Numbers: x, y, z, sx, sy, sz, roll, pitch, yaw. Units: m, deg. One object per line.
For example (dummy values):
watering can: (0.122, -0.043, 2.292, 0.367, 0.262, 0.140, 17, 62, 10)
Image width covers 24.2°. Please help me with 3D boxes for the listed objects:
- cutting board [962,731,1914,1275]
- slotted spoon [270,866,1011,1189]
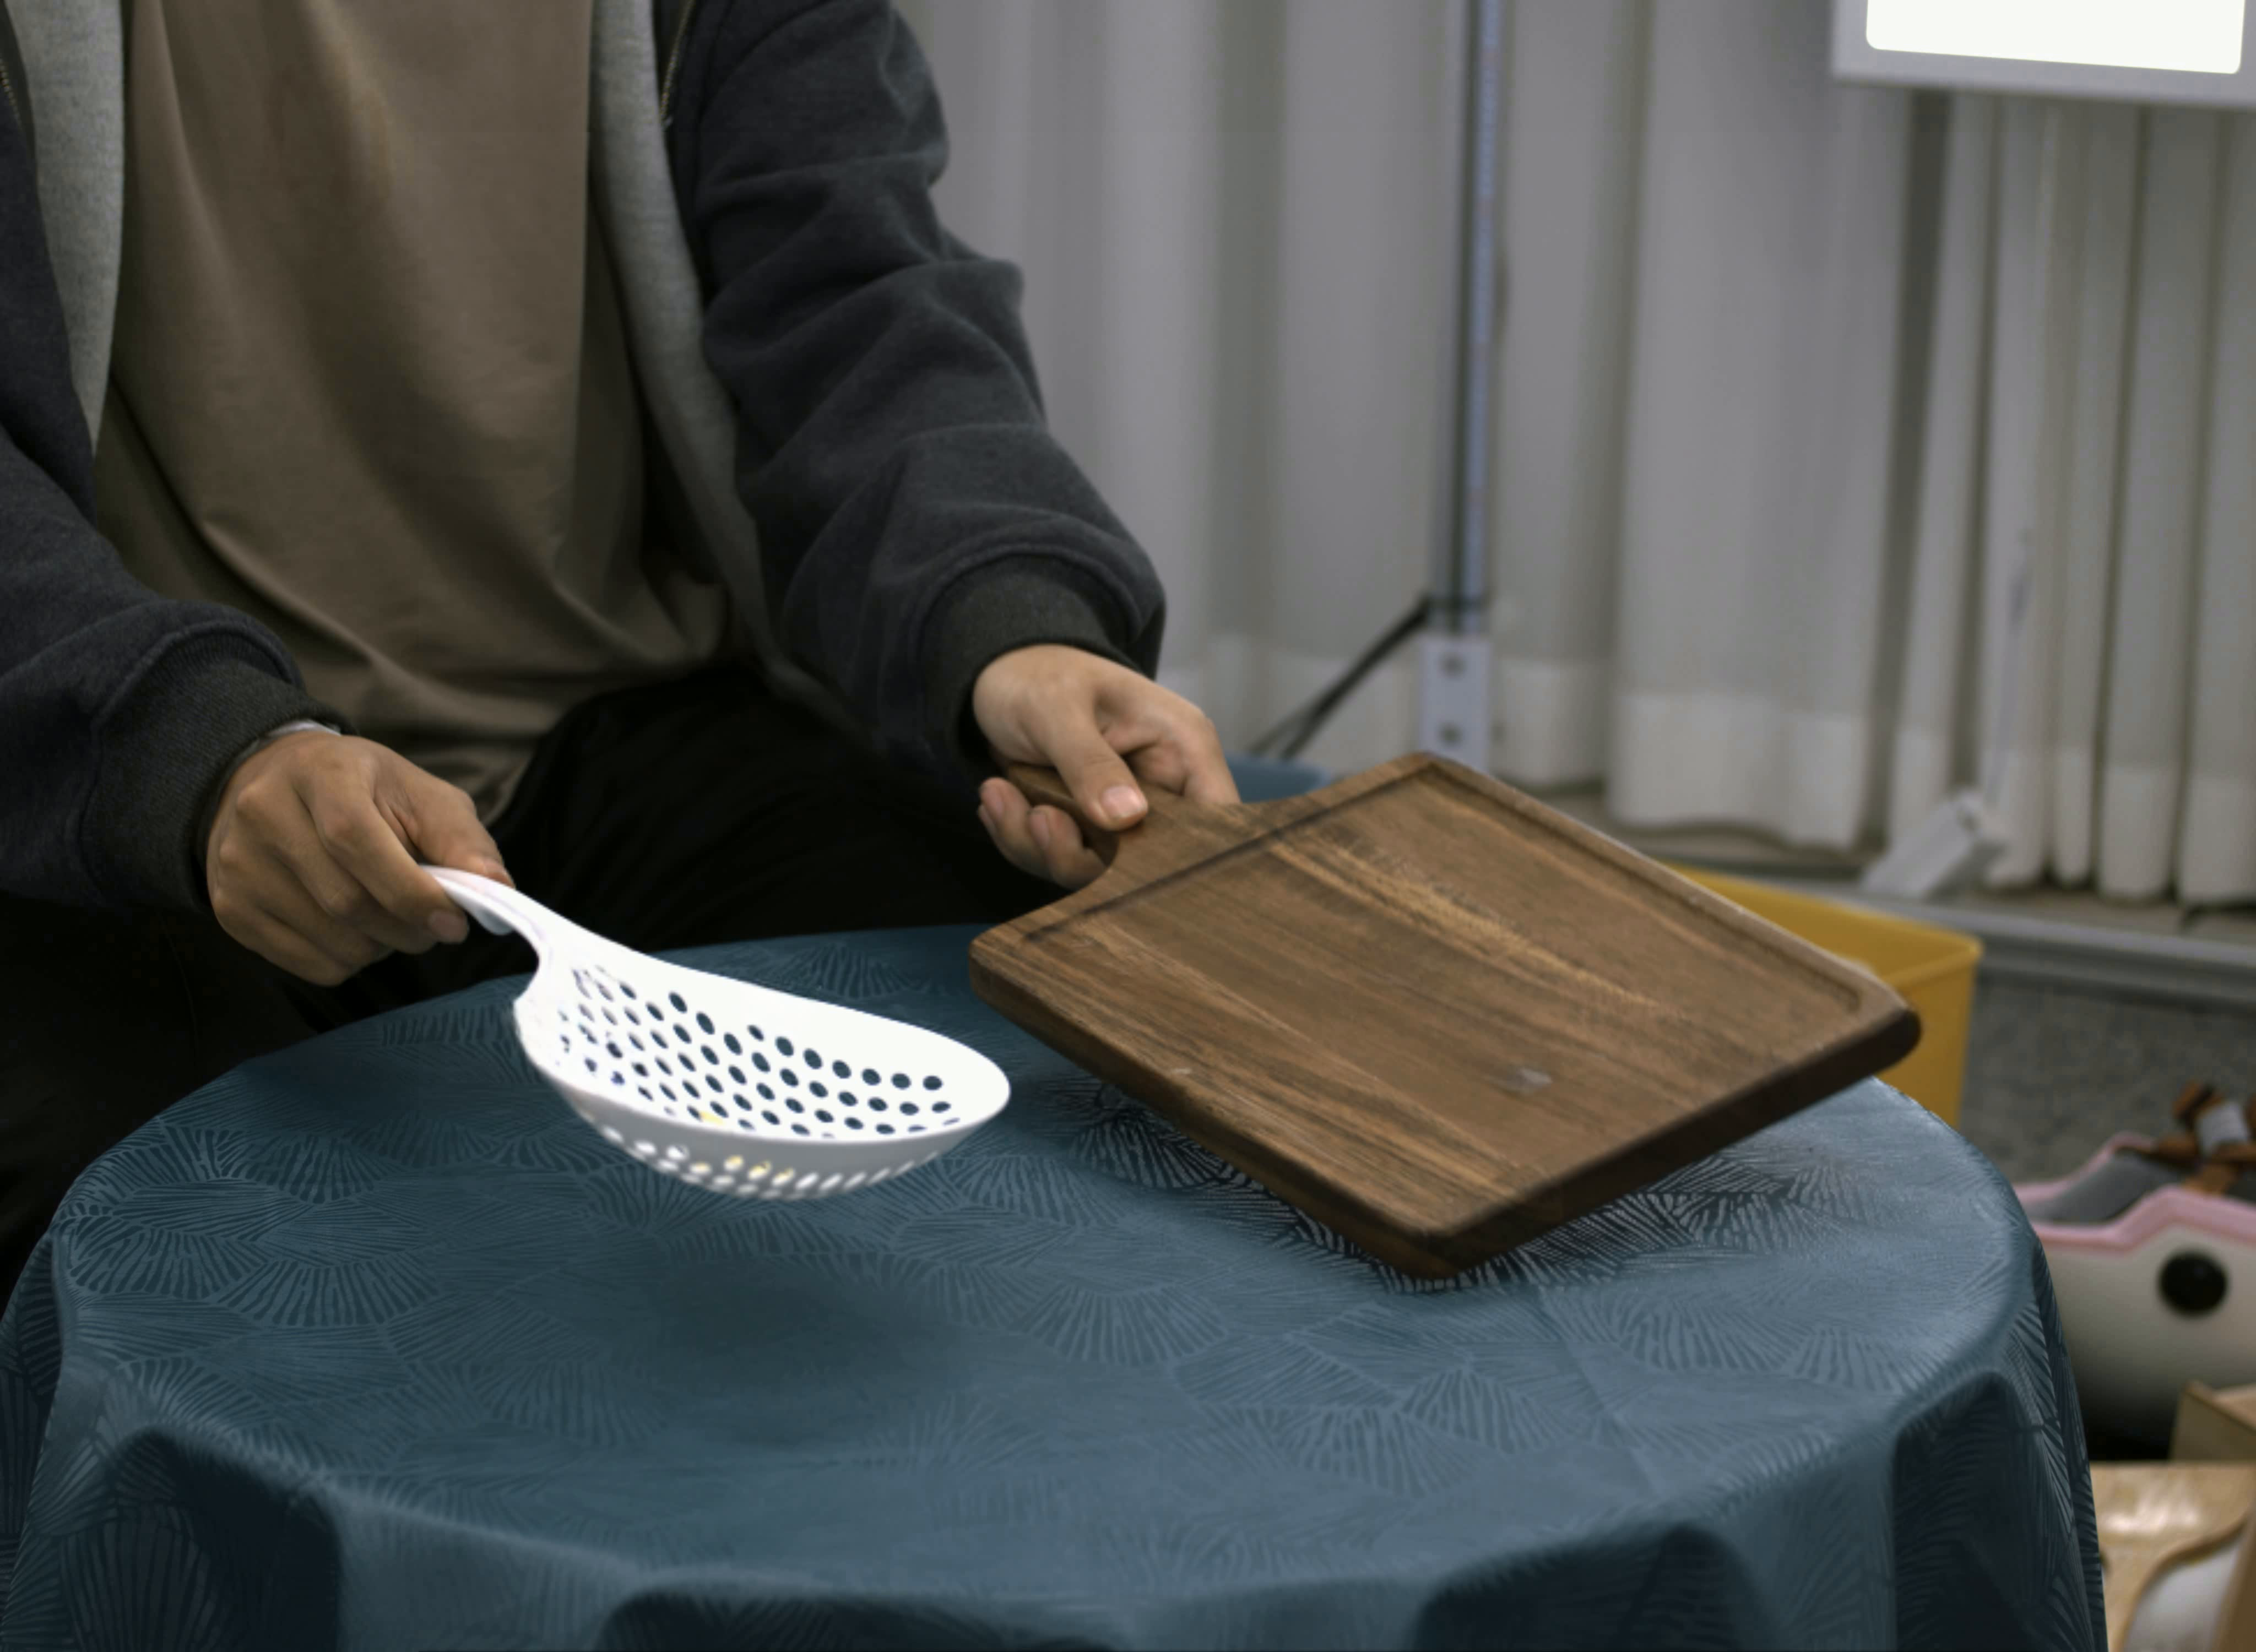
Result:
cutting board: (0.066, 0.035, 1.701, 0.201, 0.023, 0.347, -23, 32, -29)
slotted spoon: (-0.167, 0.047, 1.582, 0.137, 0.050, 0.343, -3, 20, -36)
